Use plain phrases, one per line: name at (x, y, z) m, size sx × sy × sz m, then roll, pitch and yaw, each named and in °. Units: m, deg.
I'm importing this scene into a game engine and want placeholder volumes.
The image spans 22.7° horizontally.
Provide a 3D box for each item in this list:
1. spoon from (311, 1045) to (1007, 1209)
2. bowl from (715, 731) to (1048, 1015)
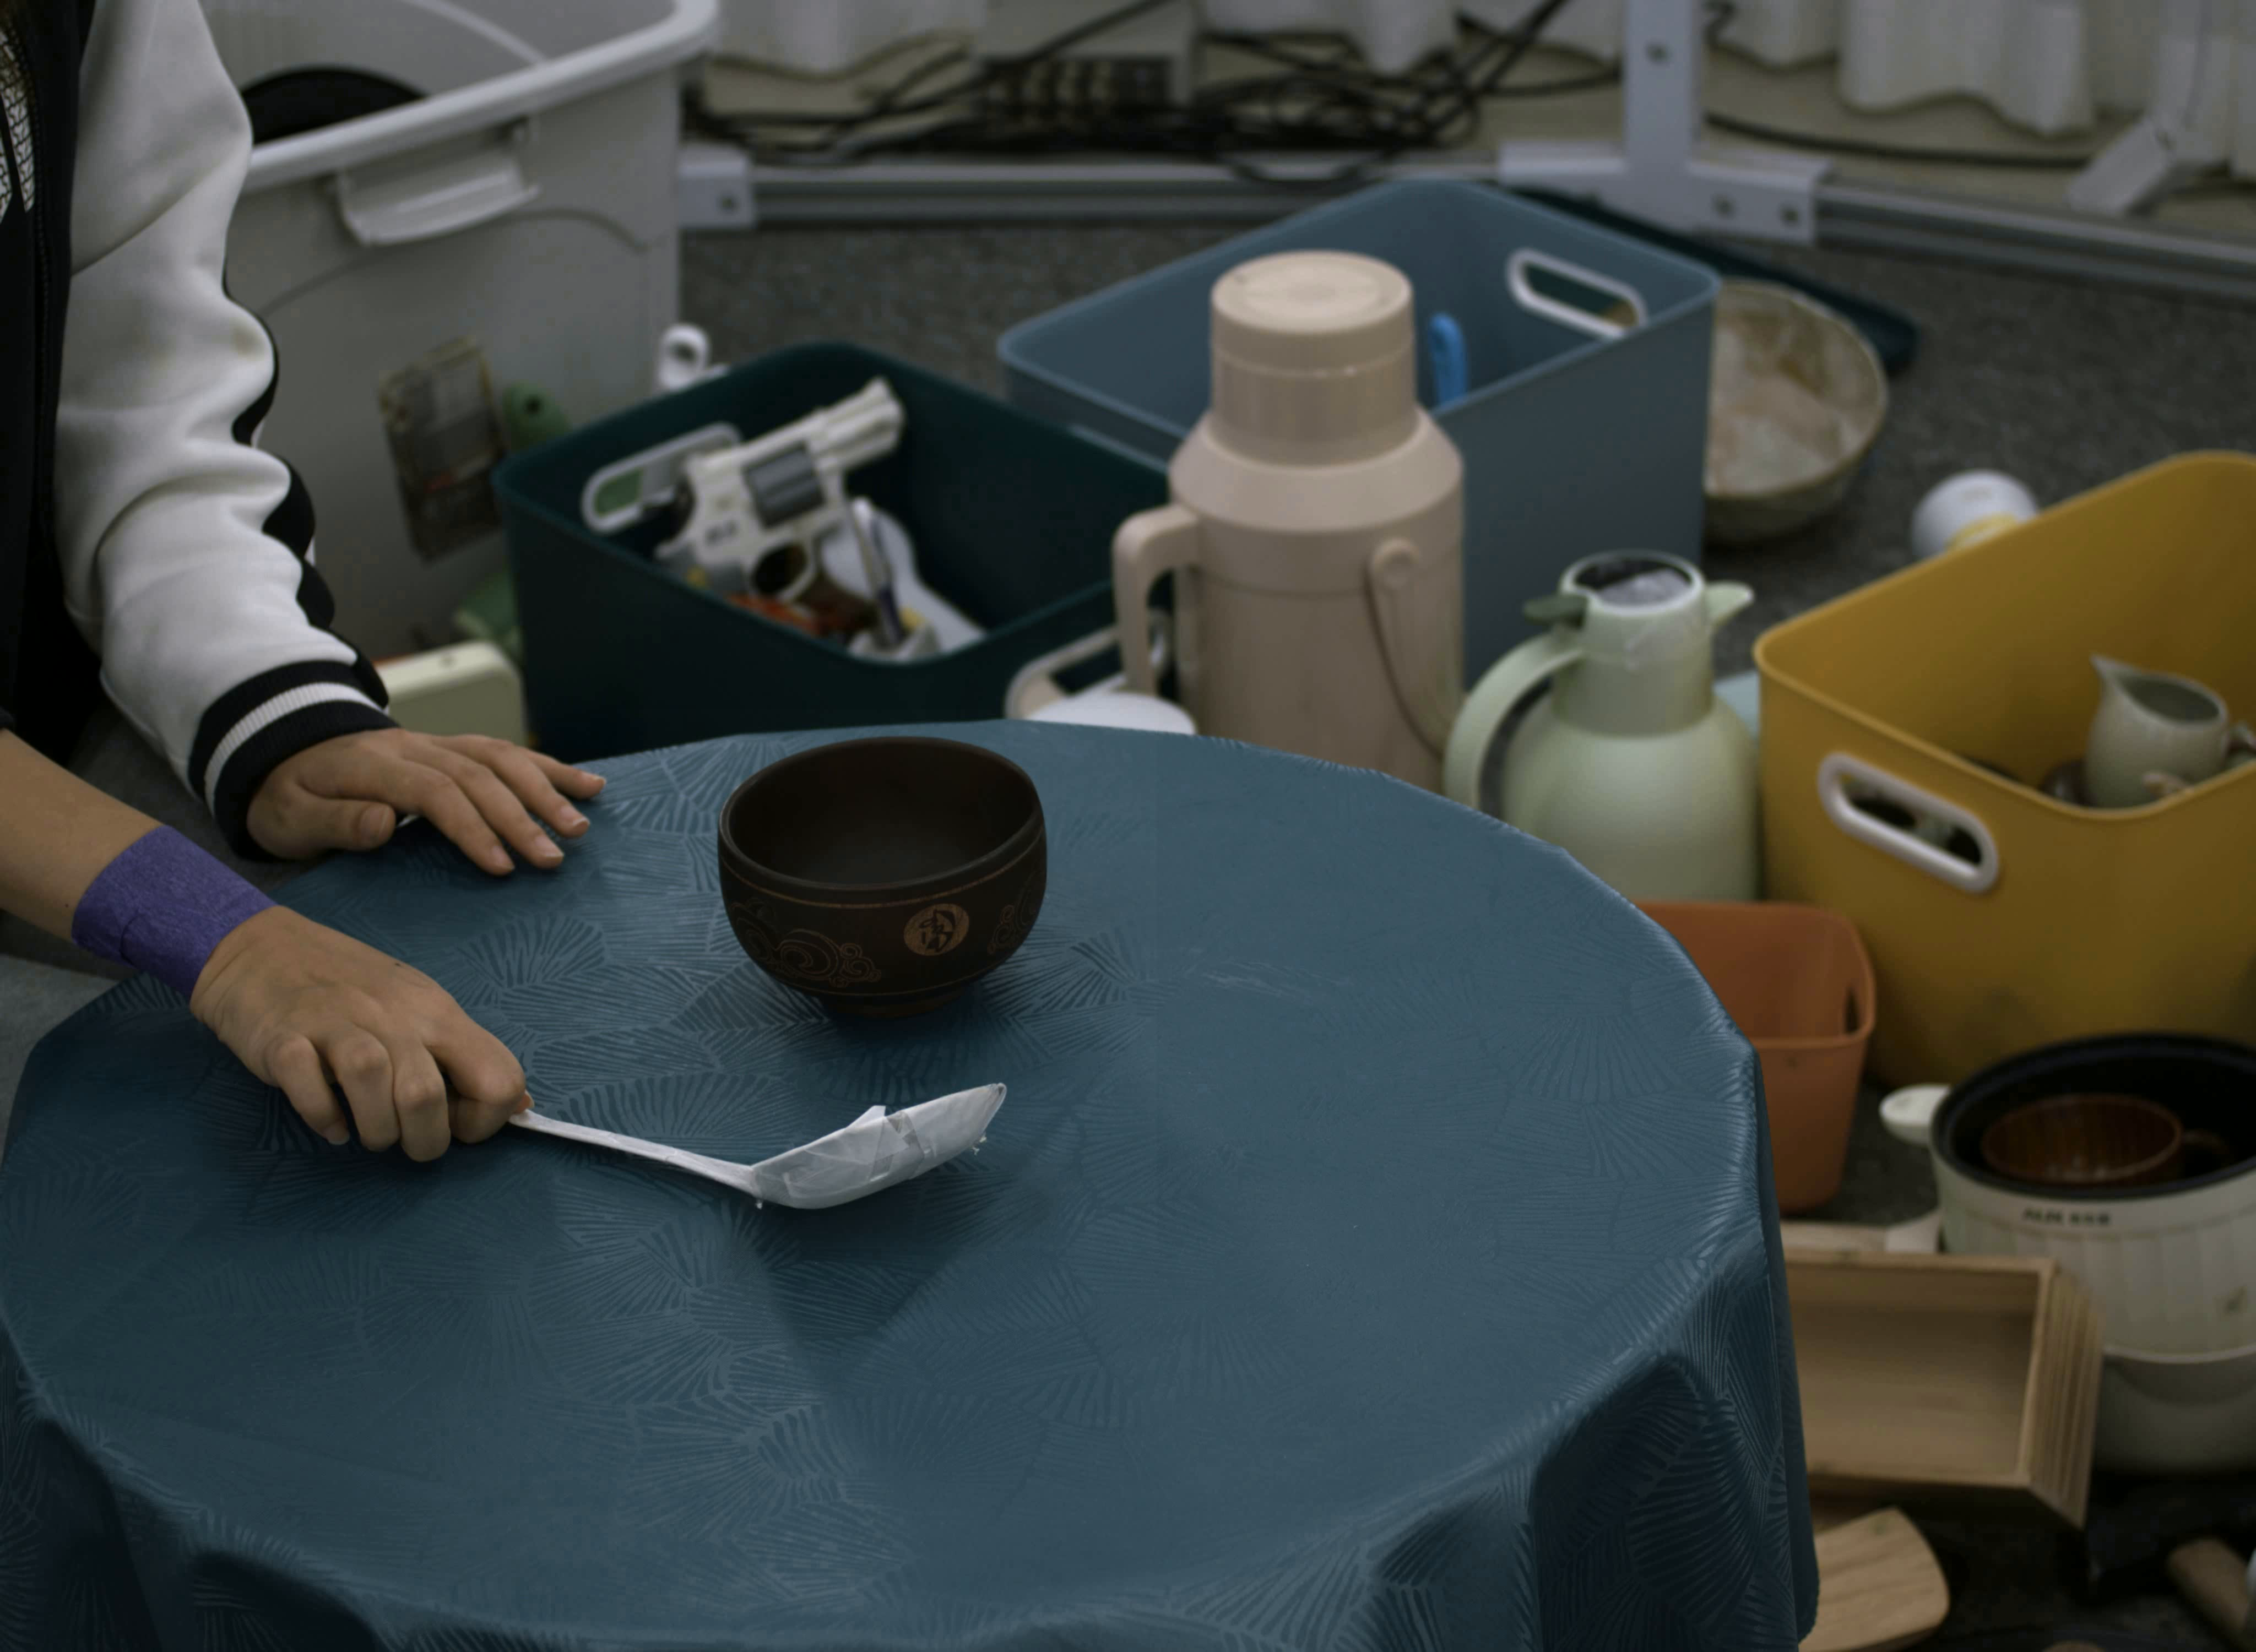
spoon at (-0.164, 0.083, 1.898) m, size 0.276 × 0.059 × 0.101 m, roll 14°, pitch 6°, yaw 32°
bowl at (-0.086, 0.023, 1.982) m, size 0.117 × 0.069 × 0.120 m, roll -2°, pitch 27°, yaw 1°
